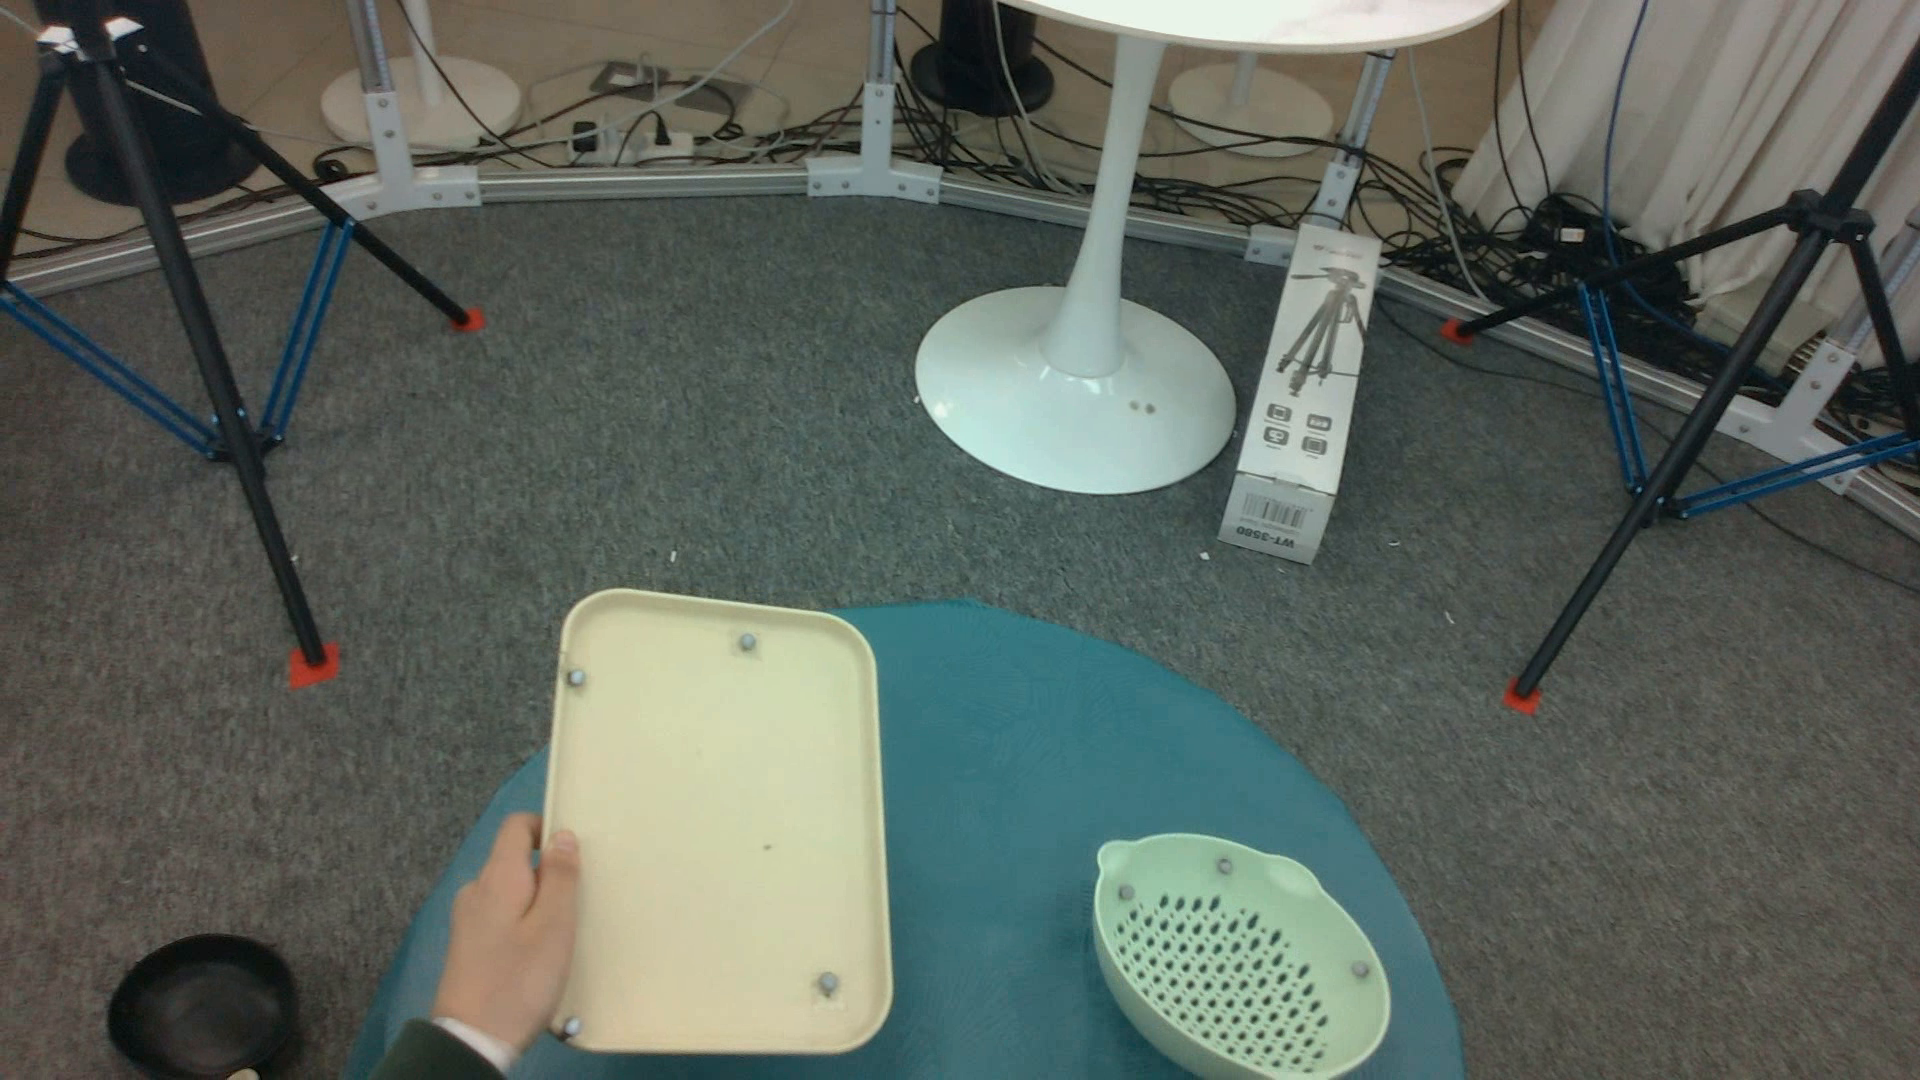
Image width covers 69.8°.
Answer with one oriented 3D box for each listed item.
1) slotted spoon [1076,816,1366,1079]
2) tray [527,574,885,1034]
[{"bbox_3d":[0.157,0.276,0.685,0.169,0.075,0.360,10,22,-17],"label":"slotted spoon"},{"bbox_3d":[-0.125,0.129,0.699,0.171,0.017,0.240,8,54,-20],"label":"tray"}]
